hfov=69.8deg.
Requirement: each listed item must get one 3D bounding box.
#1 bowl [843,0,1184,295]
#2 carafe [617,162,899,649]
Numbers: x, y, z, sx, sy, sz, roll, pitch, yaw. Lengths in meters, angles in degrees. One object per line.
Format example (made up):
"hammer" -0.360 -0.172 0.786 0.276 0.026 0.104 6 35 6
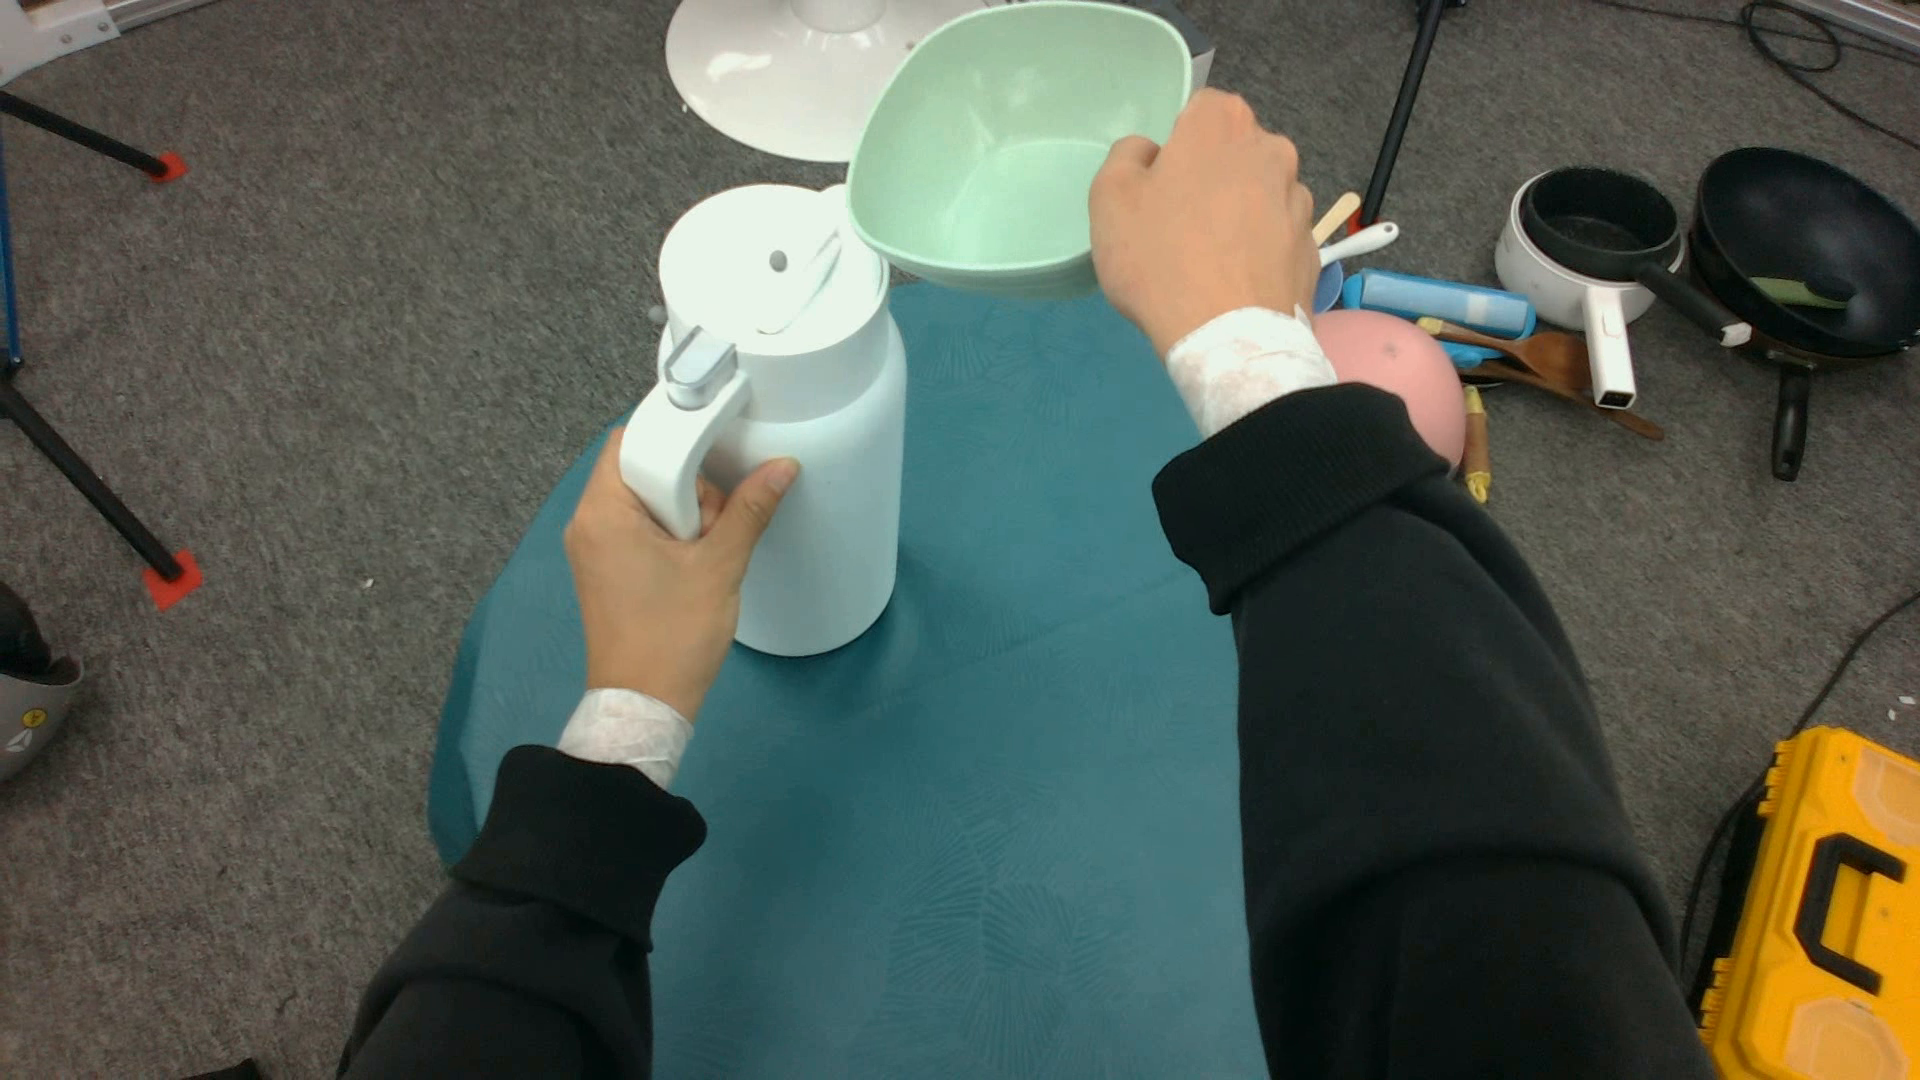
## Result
"bowl" 0.029 -0.155 0.580 0.151 0.058 0.152 -9 62 17
"carafe" -0.099 -0.041 0.694 0.124 0.267 0.173 26 59 8
